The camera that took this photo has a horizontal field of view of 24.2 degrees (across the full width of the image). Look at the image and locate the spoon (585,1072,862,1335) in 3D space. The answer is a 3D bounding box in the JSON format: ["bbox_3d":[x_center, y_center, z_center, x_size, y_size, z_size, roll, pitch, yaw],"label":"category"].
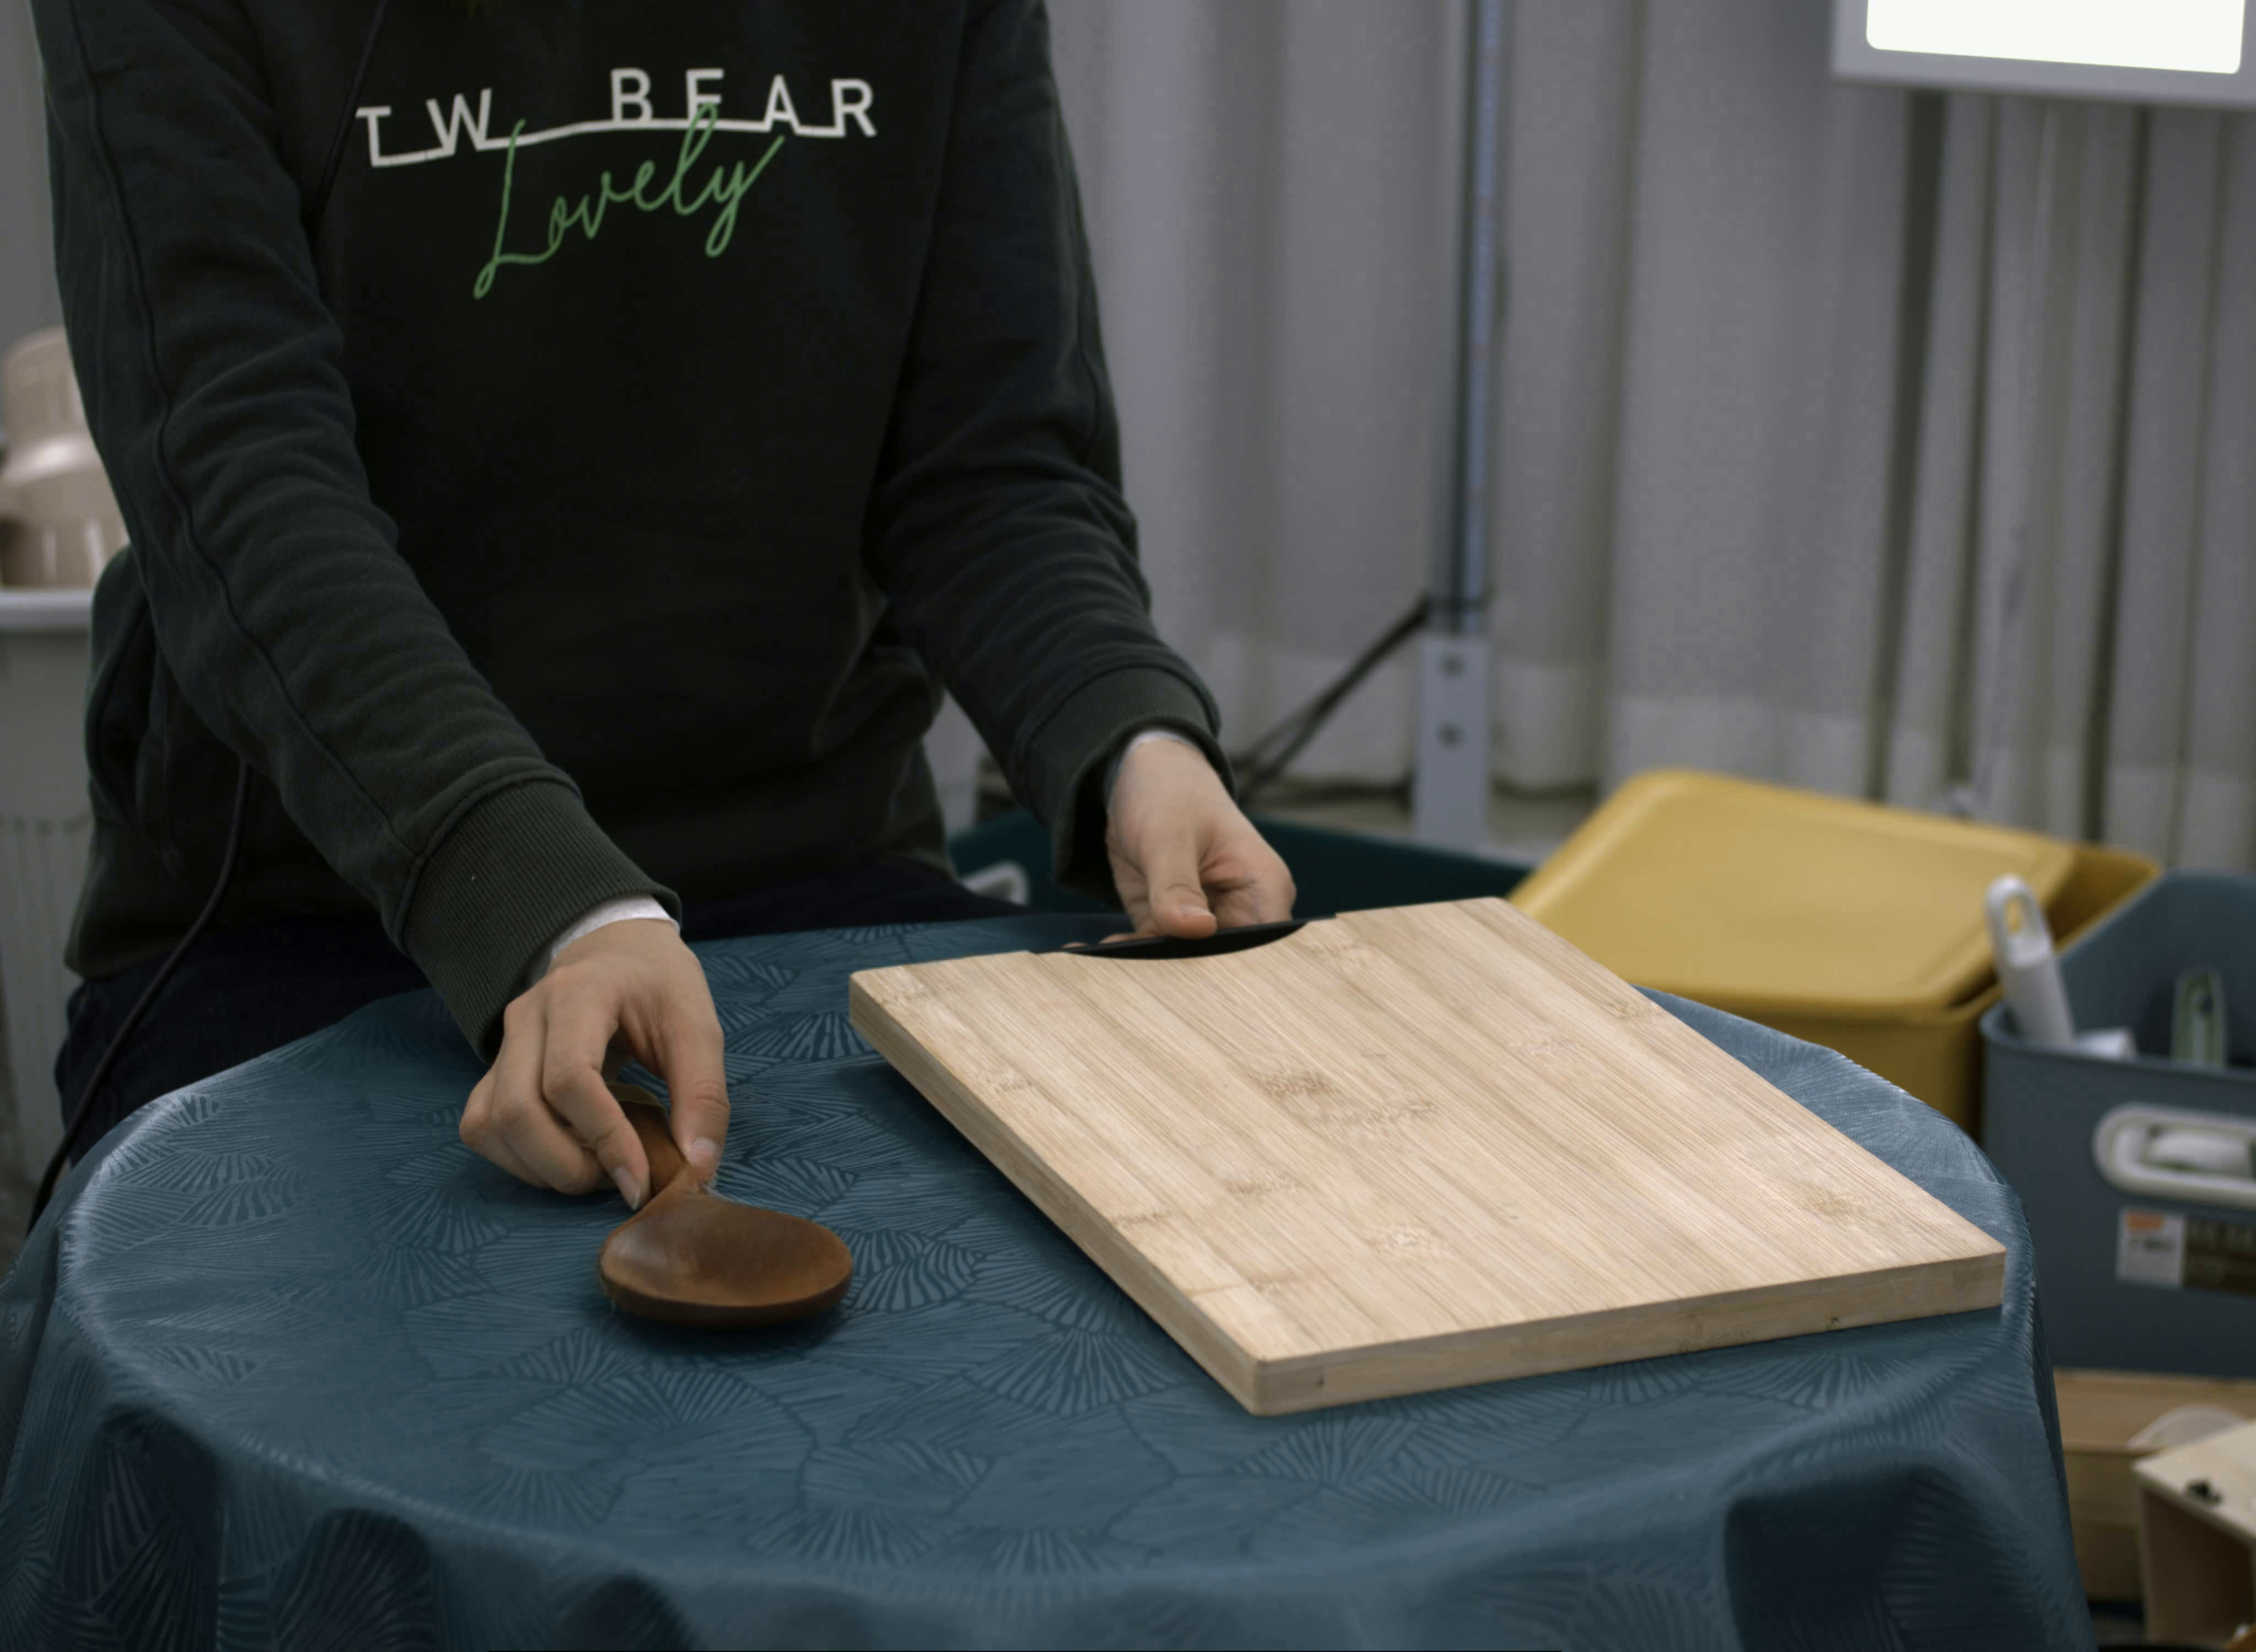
[{"bbox_3d":[-0.133,0.114,1.583,0.075,0.017,0.213,-5,18,-15],"label":"spoon"}]

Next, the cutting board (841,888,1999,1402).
[{"bbox_3d":[0.079,0.092,1.642,0.251,0.024,0.344,-6,20,-23],"label":"cutting board"}]
